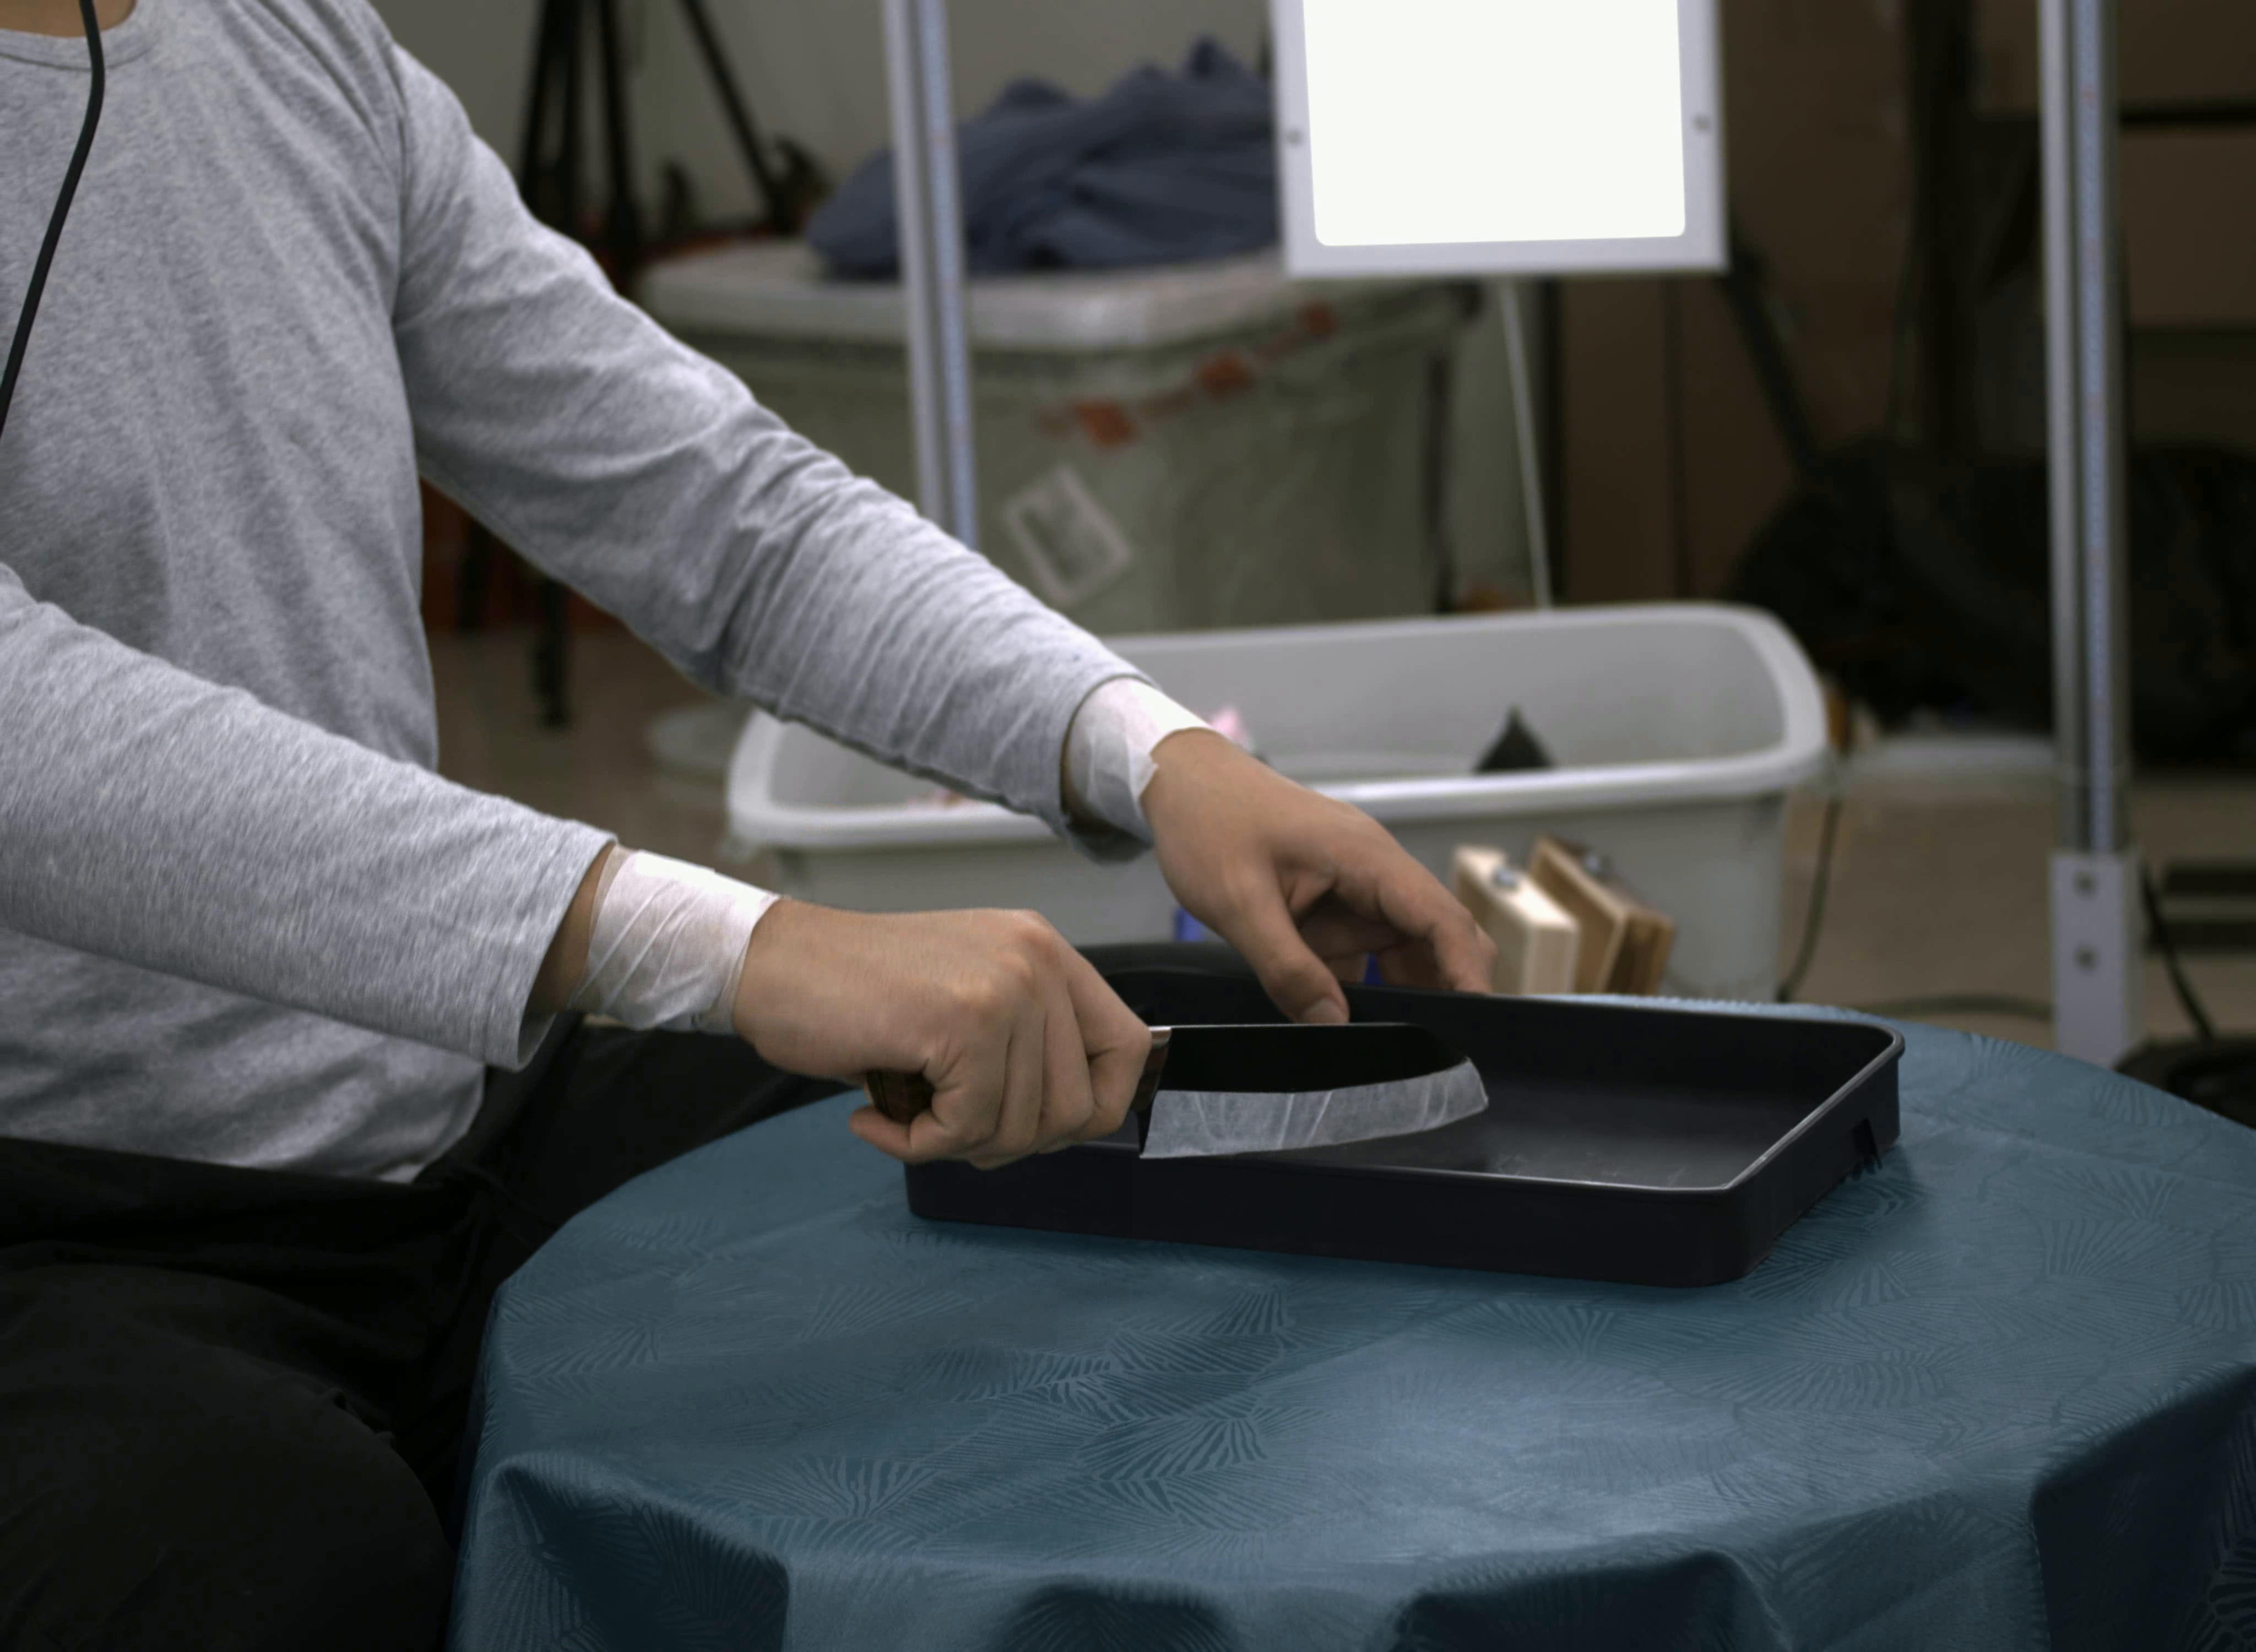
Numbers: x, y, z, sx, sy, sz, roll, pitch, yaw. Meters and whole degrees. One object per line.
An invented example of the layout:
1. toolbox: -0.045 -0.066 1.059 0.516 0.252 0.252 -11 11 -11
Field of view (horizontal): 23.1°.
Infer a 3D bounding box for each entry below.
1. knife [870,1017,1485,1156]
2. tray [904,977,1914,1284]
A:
1. knife: 0.024 0.084 1.802 0.282 0.050 0.020 5 11 -44
2. tray: 0.098 0.101 1.886 0.323 0.037 0.180 2 17 28
